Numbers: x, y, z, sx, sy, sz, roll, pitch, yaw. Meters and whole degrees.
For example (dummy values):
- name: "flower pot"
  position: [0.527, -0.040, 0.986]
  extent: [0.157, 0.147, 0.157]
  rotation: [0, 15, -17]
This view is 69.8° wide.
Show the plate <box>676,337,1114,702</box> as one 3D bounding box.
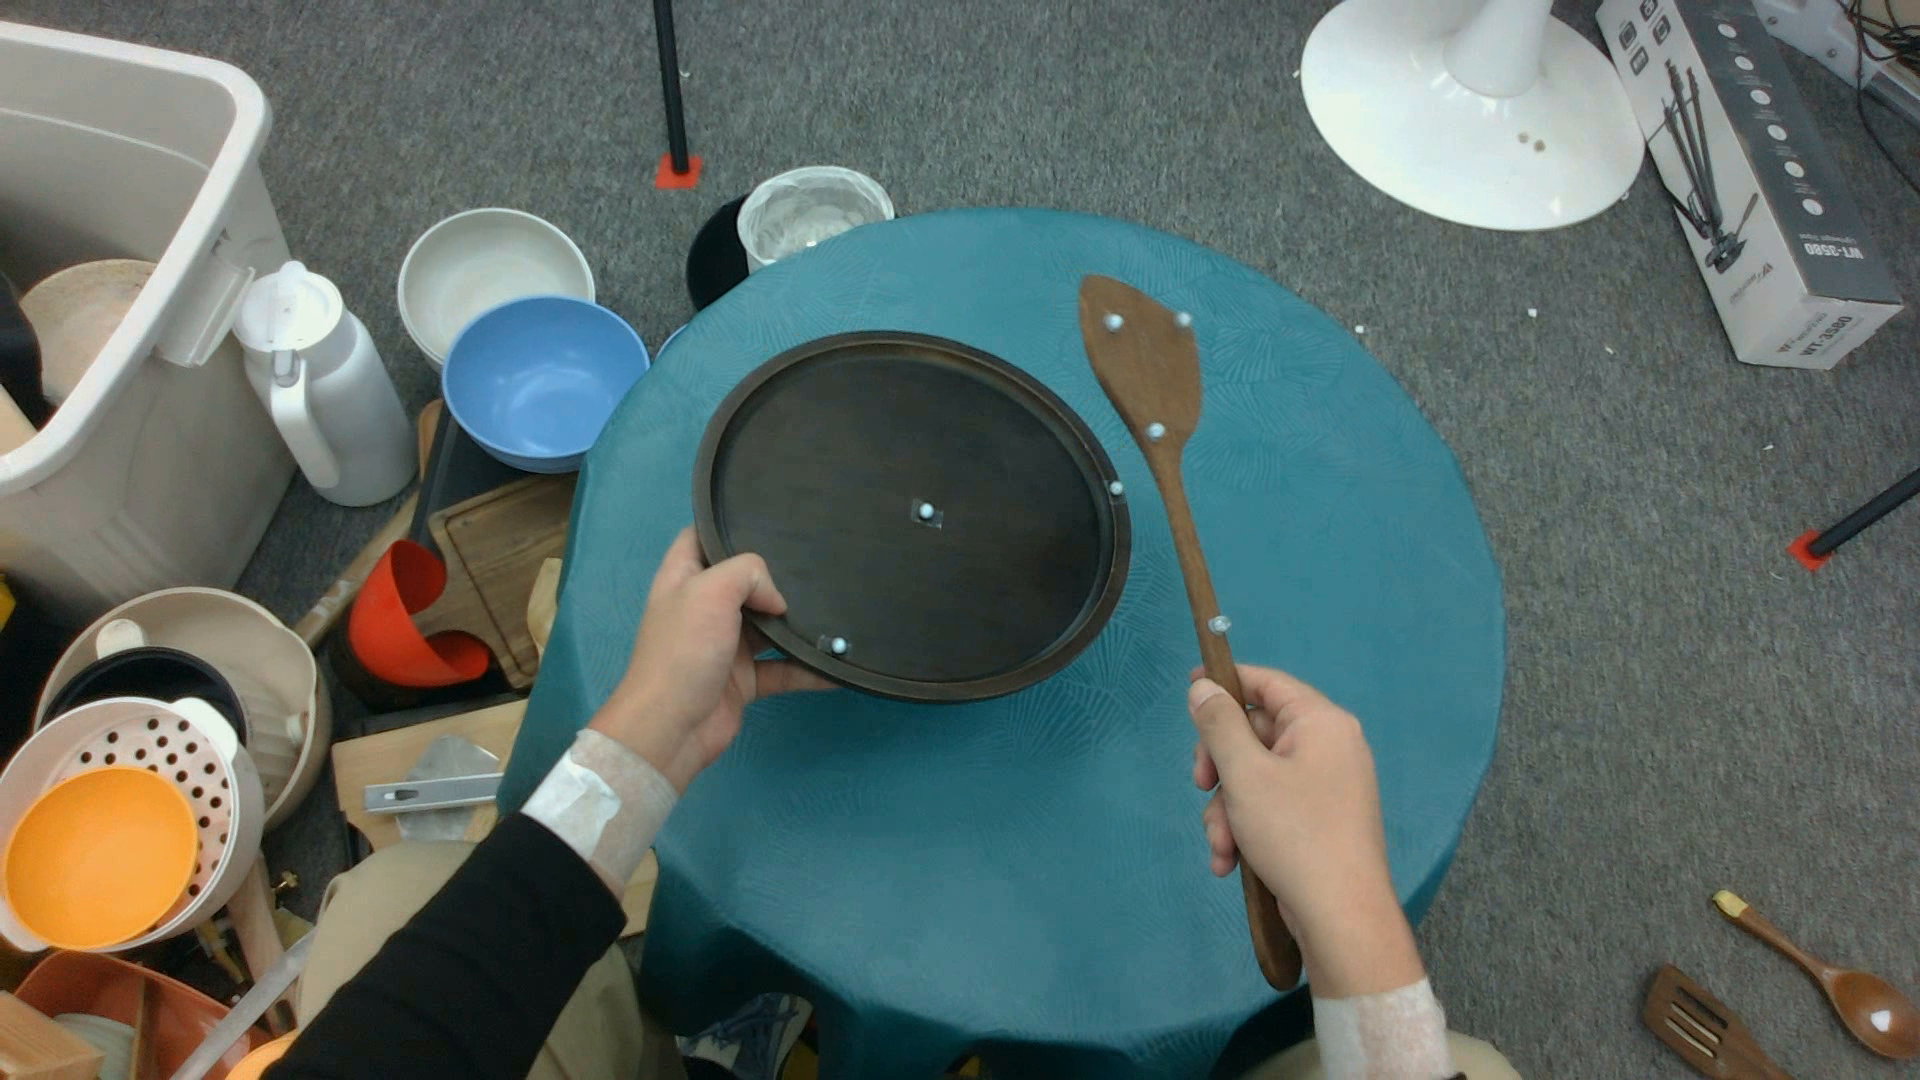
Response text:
- name: "plate"
  position: [-0.035, -0.018, 0.788]
  extent: [0.255, 0.029, 0.256]
  rotation: [9, 52, -12]

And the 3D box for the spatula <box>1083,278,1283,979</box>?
- name: "spatula"
  position: [0.118, 0.025, 0.704]
  extent: [0.096, 0.016, 0.387]
  rotation: [17, 53, -36]
